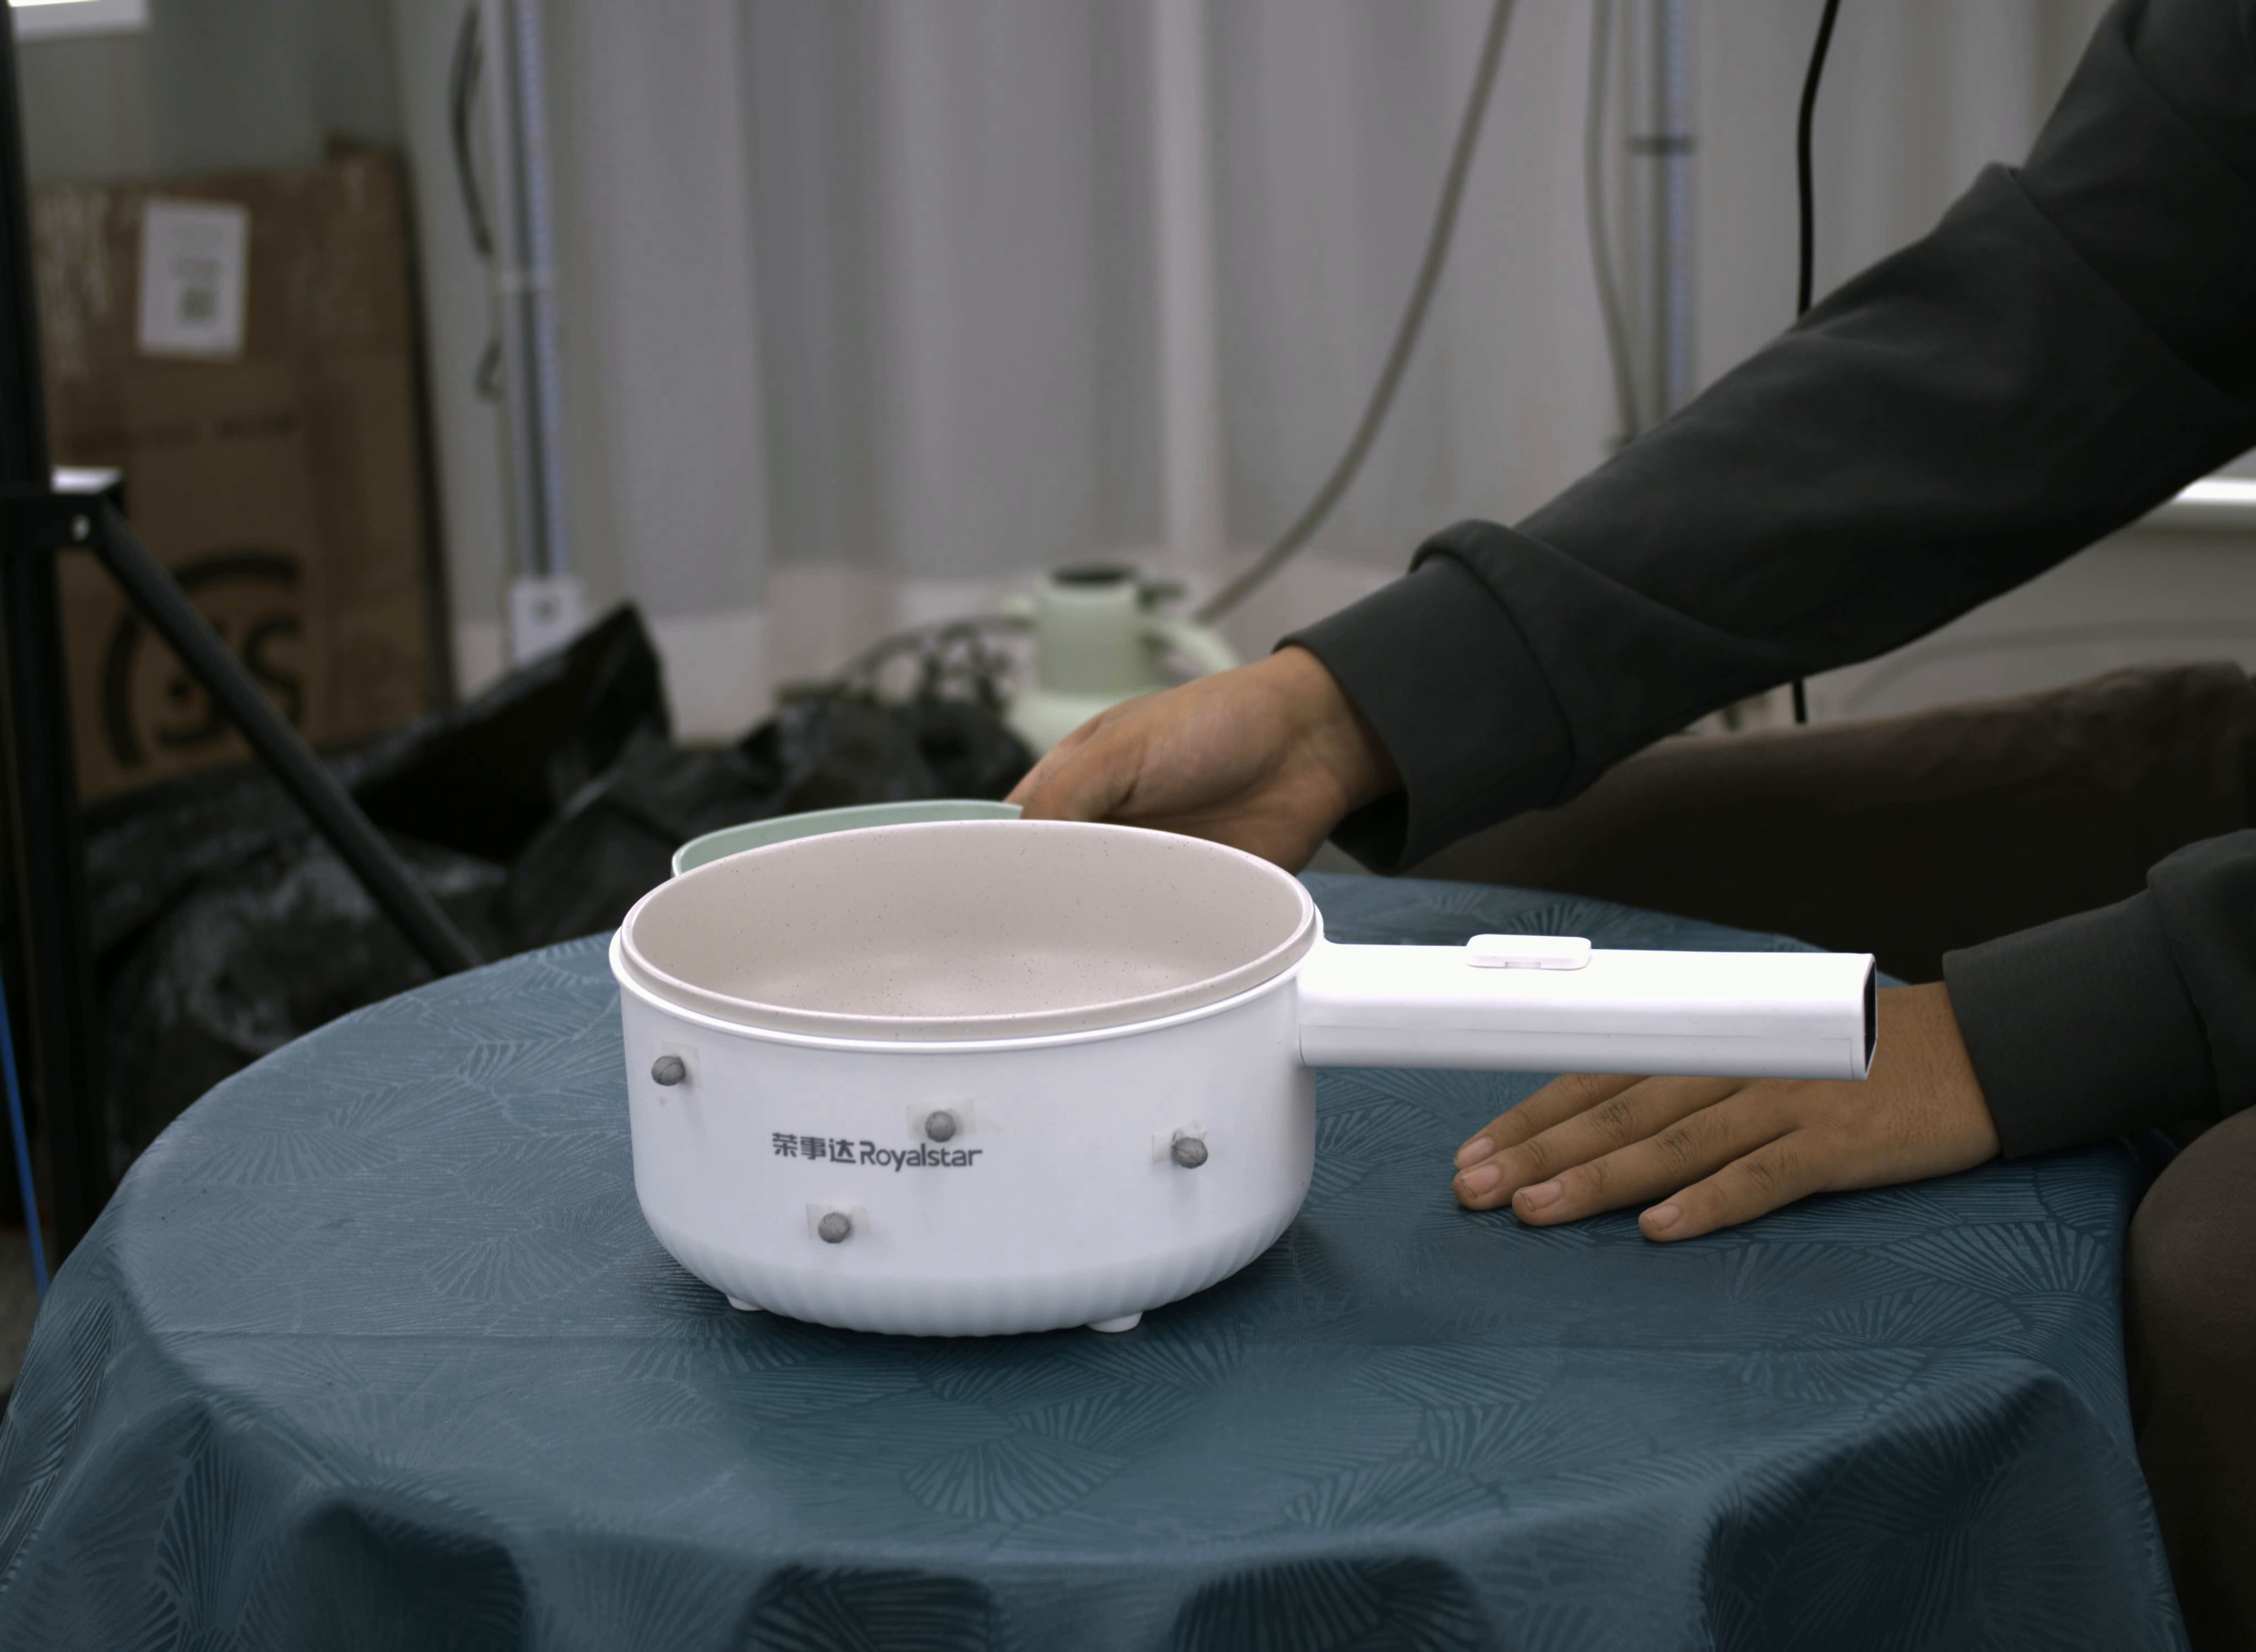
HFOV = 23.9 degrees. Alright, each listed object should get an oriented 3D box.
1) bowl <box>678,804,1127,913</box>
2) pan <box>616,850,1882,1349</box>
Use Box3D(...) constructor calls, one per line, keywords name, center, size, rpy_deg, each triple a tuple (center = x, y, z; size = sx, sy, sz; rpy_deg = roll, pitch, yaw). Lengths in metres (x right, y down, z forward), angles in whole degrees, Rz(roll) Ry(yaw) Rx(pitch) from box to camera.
Box3D(name="bowl", center=(-0.071, 0.041, 1.702), size=(0.151, 0.058, 0.152), rpy_deg=(-4, 16, 0))
Box3D(name="pan", center=(0.031, 0.082, 1.484), size=(0.357, 0.102, 0.199), rpy_deg=(3, 13, 14))
